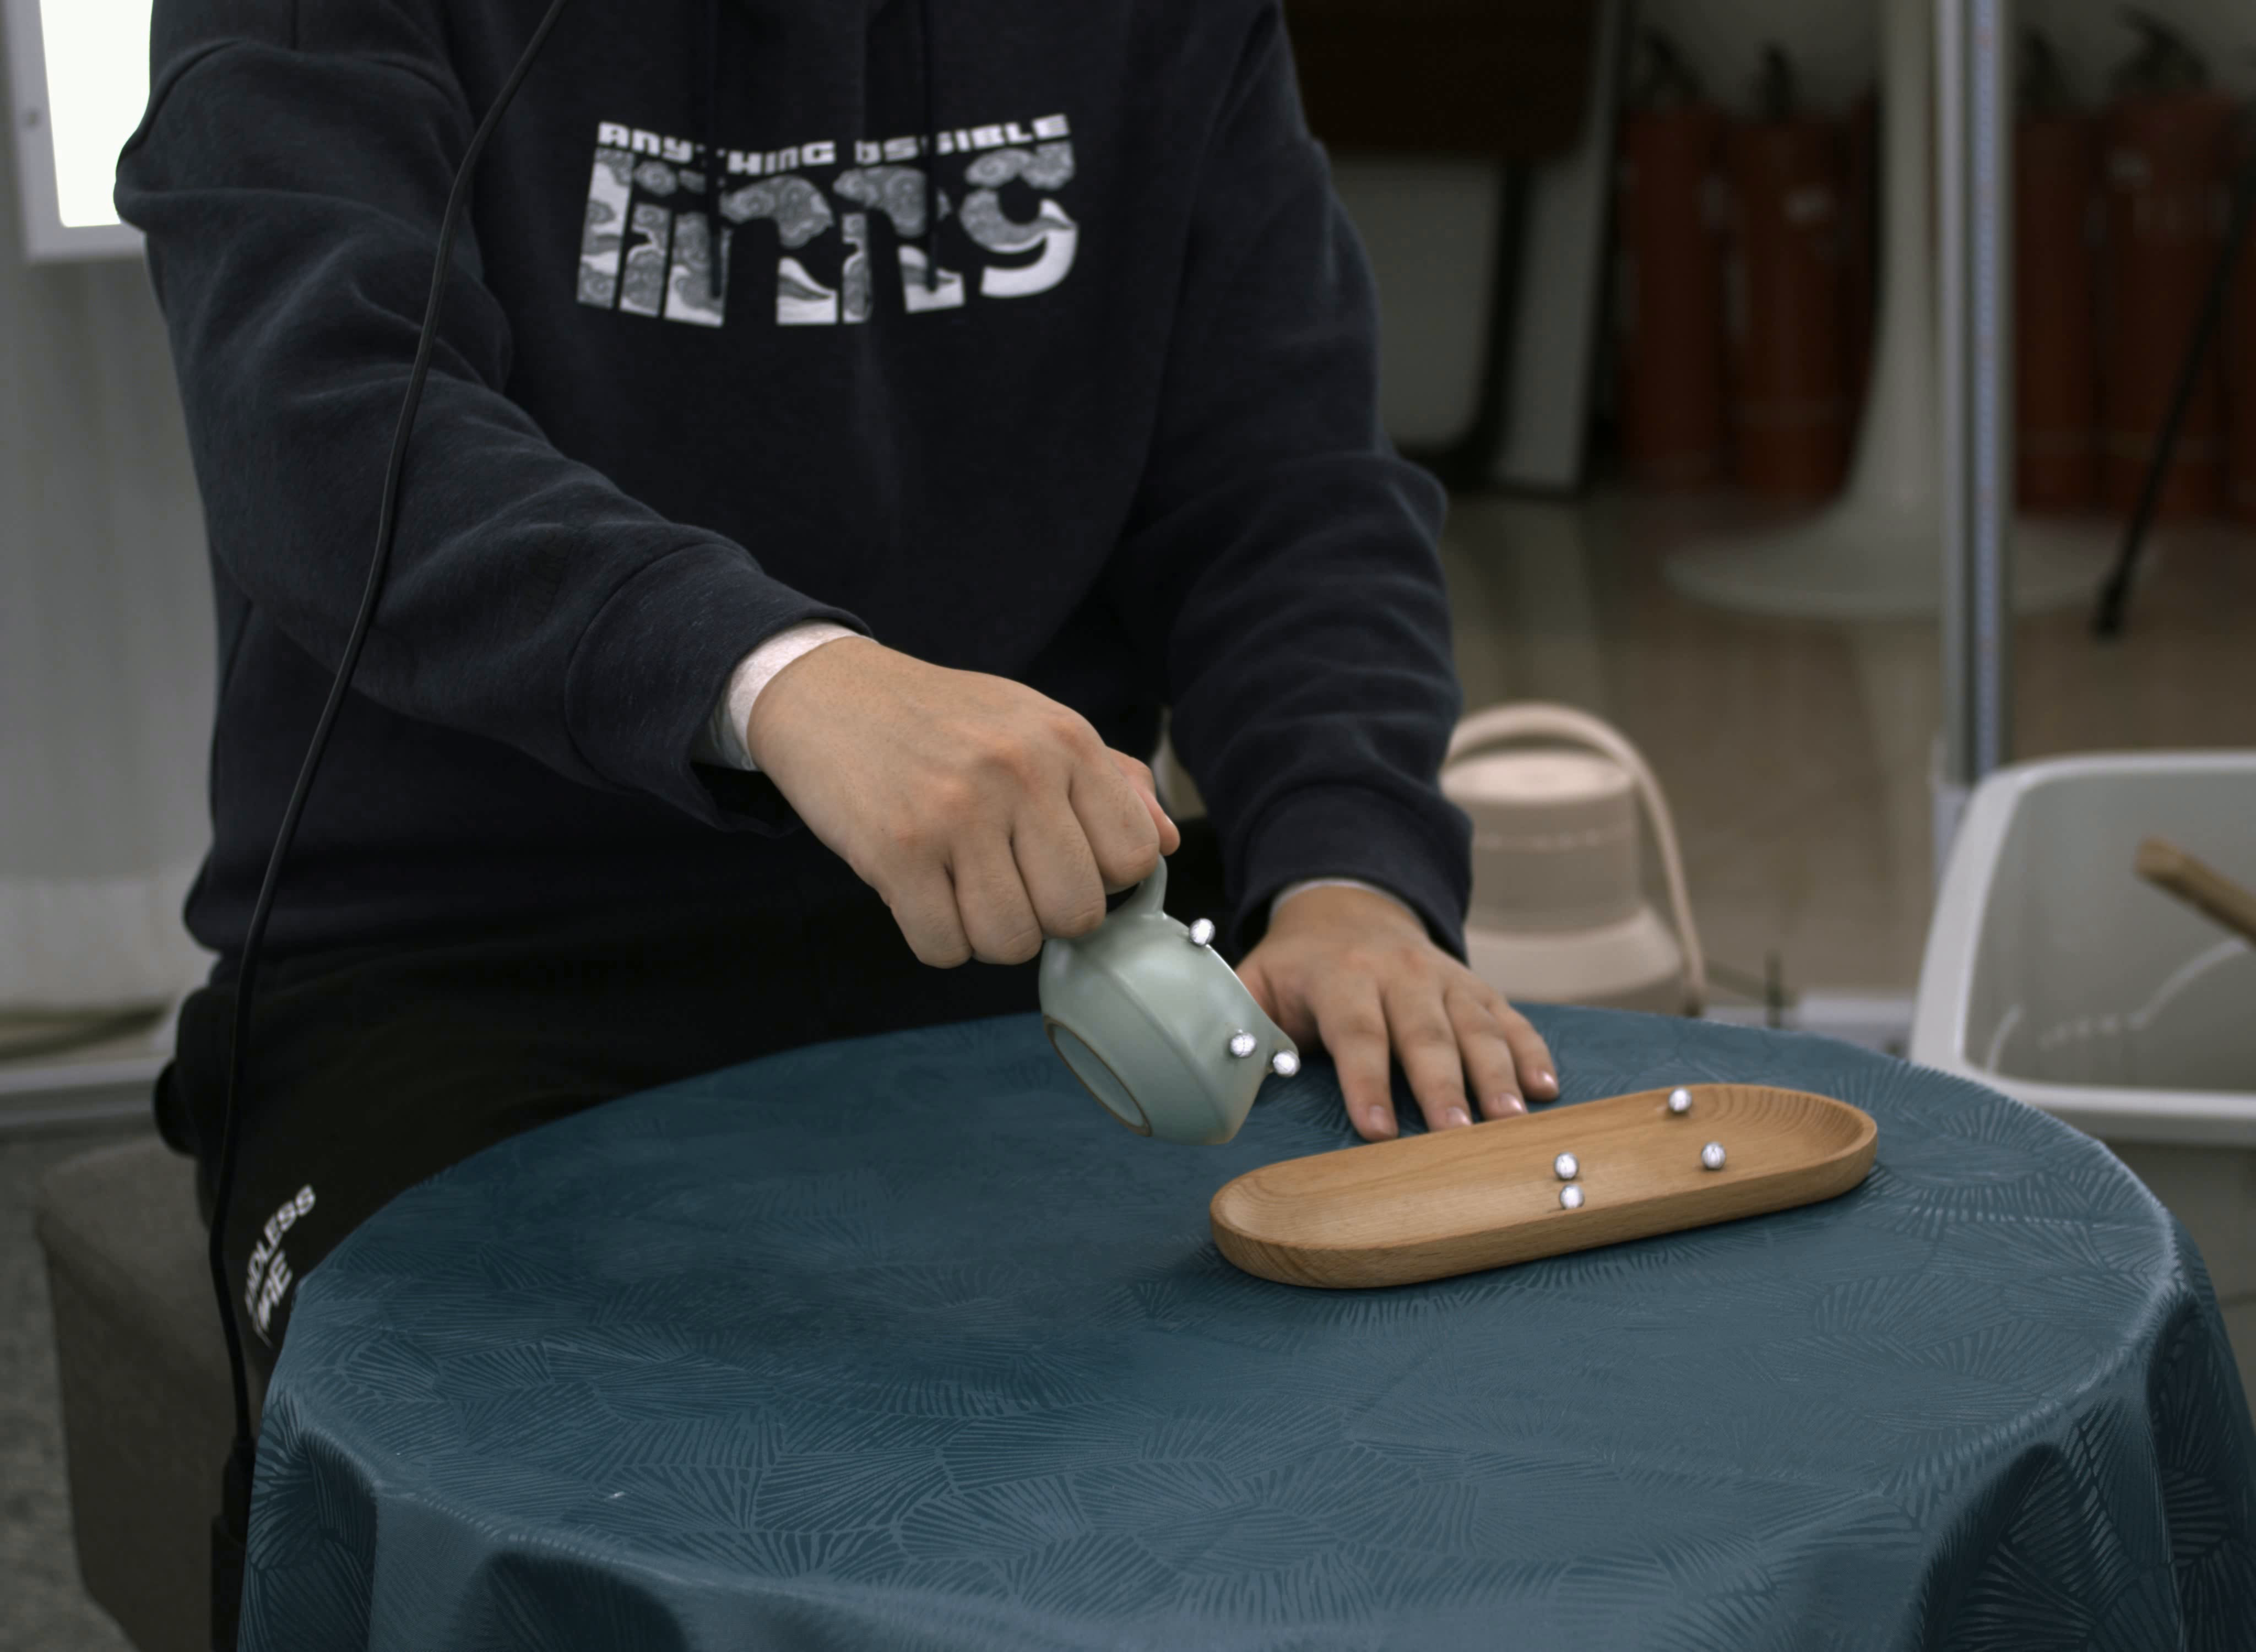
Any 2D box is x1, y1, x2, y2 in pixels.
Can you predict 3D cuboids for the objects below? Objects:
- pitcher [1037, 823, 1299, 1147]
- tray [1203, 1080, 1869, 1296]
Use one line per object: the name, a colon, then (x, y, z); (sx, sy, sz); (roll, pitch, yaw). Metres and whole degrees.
pitcher: (0.004, 0.051, 1.668); (0.060, 0.107, 0.087); (-43, 24, -13)
tray: (0.133, 0.116, 1.727); (0.226, 0.020, 0.102); (-12, 14, -22)
